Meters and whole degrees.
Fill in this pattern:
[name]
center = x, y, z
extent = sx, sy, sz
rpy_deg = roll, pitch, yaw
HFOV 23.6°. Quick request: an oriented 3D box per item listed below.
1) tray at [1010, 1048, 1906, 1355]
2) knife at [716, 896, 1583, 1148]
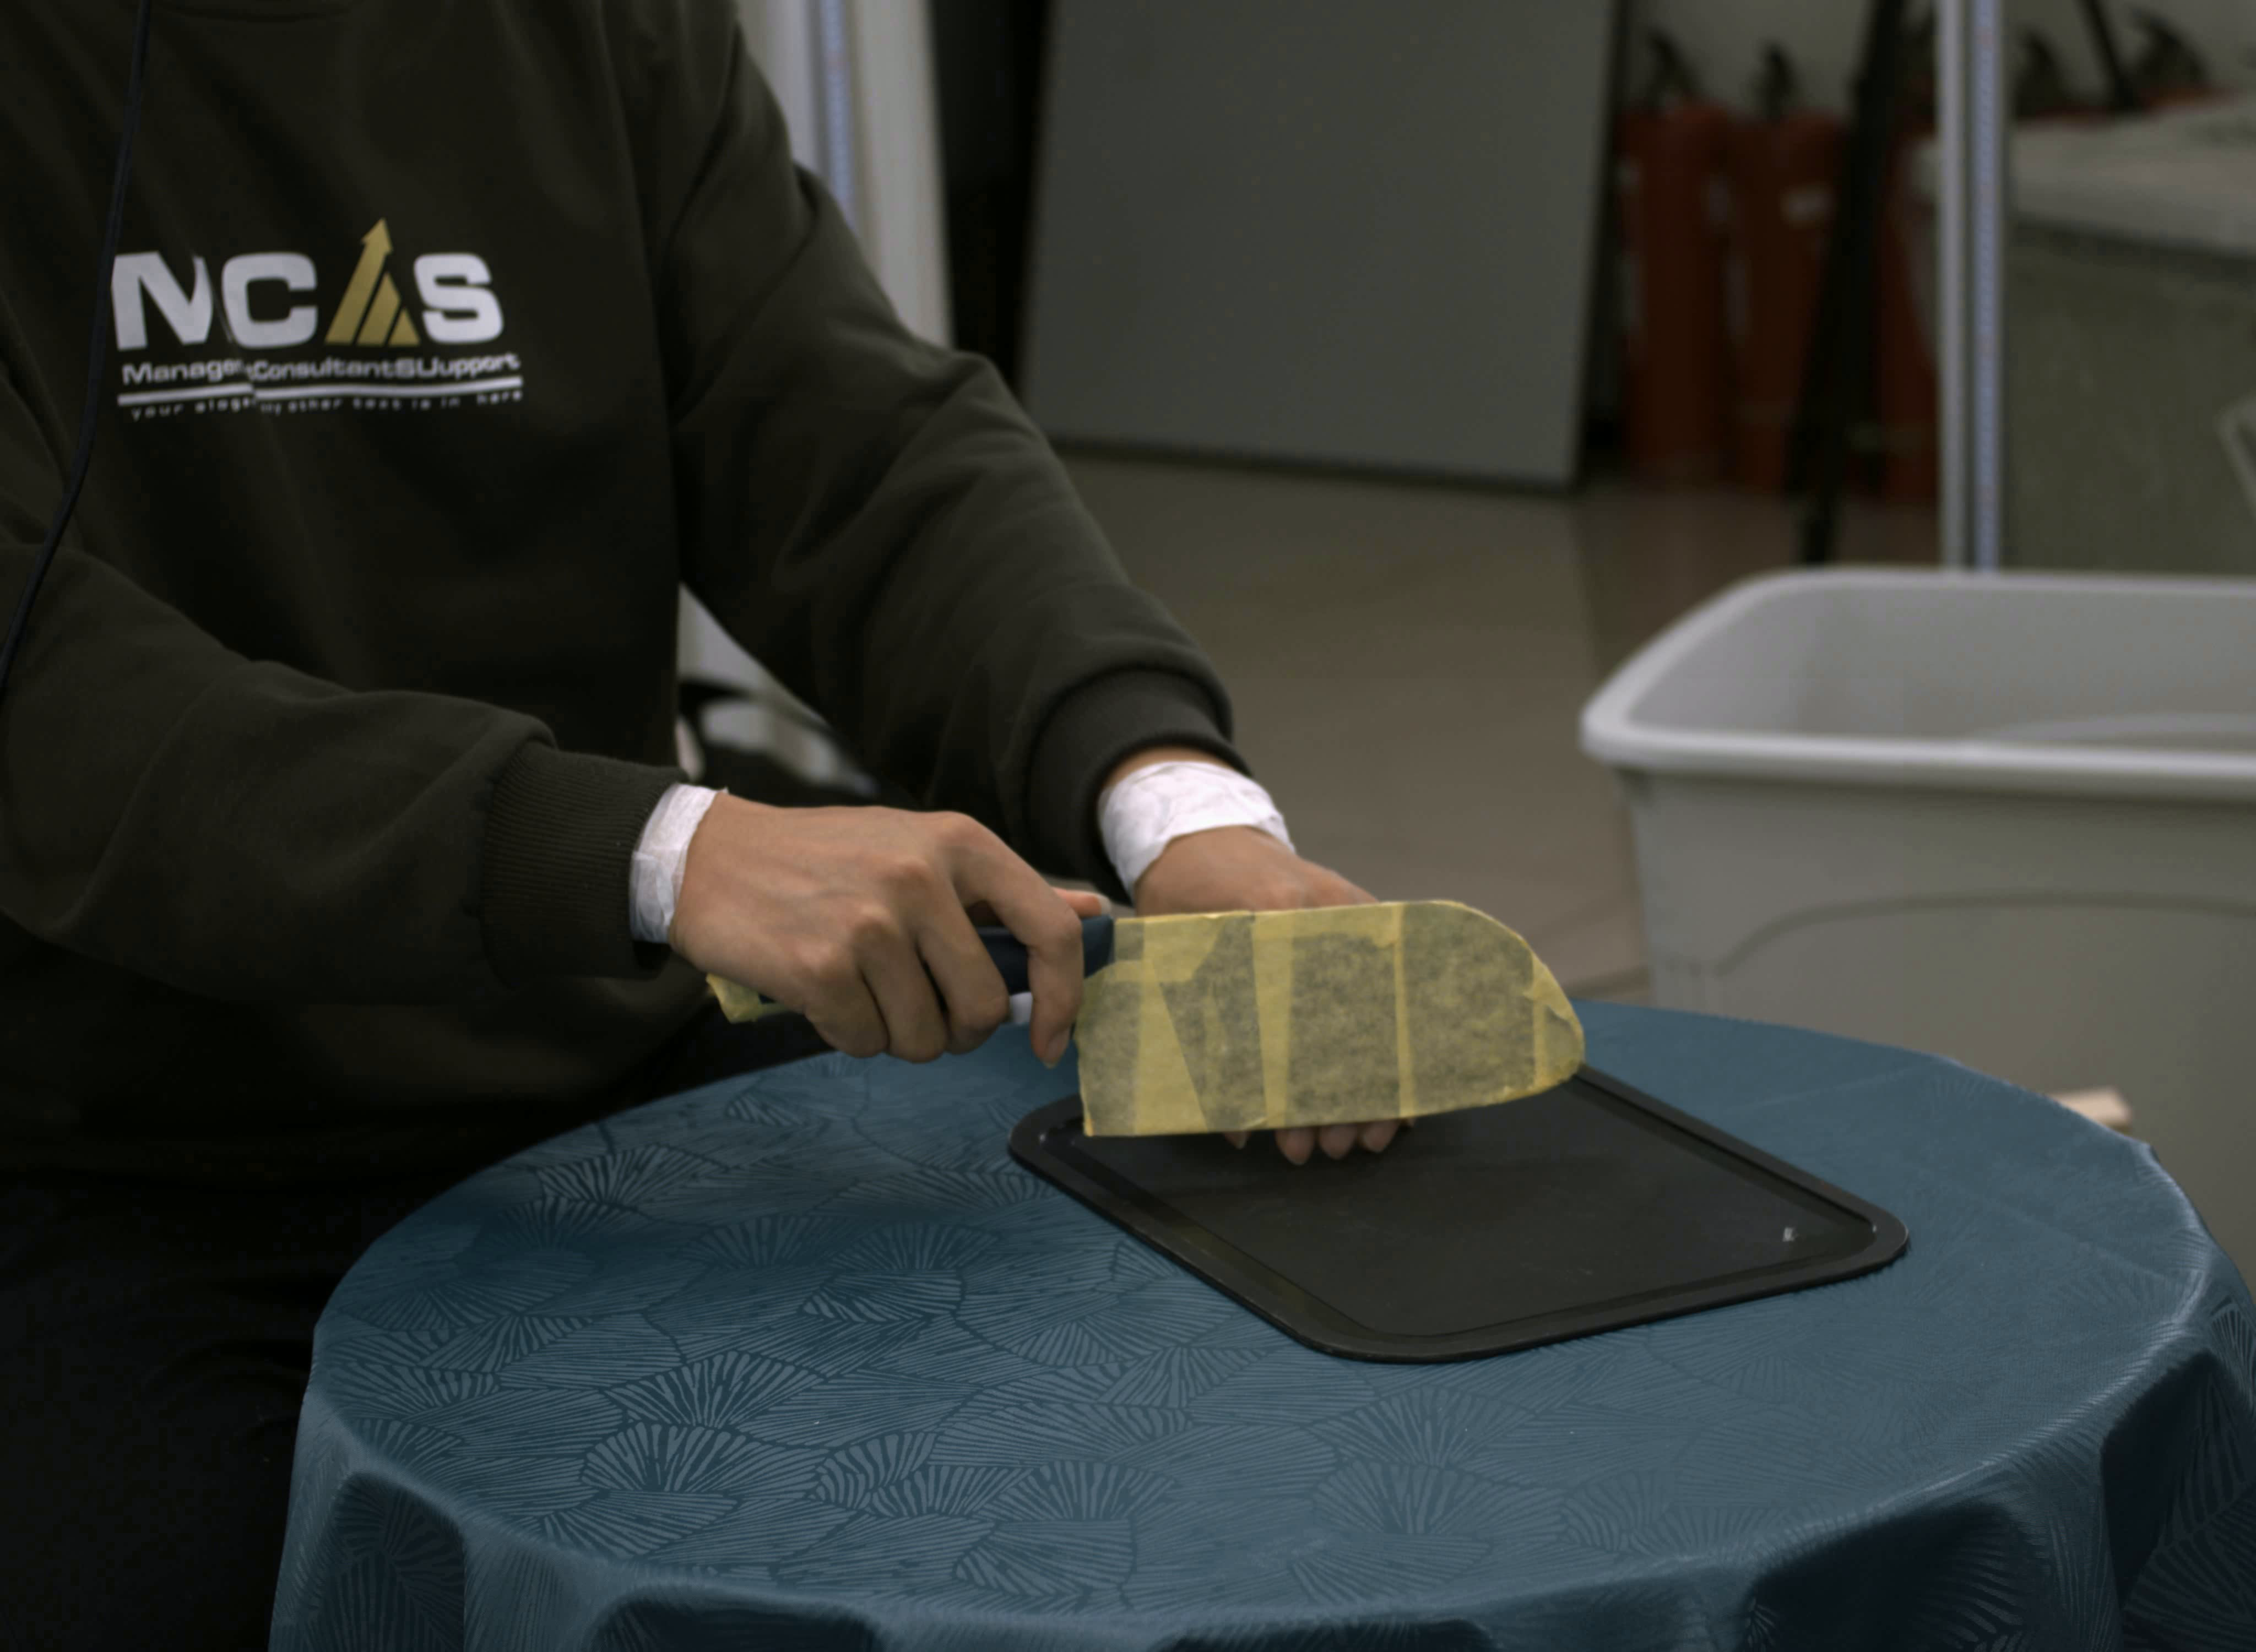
[tray]
center = 0.097, 0.114, 1.759
extent = 0.206, 0.010, 0.328
rpy_deg = -10, 15, -22
[knife]
center = 0.008, 0.065, 1.771
extent = 0.285, 0.082, 0.027
rpy_deg = -1, 1, 0
